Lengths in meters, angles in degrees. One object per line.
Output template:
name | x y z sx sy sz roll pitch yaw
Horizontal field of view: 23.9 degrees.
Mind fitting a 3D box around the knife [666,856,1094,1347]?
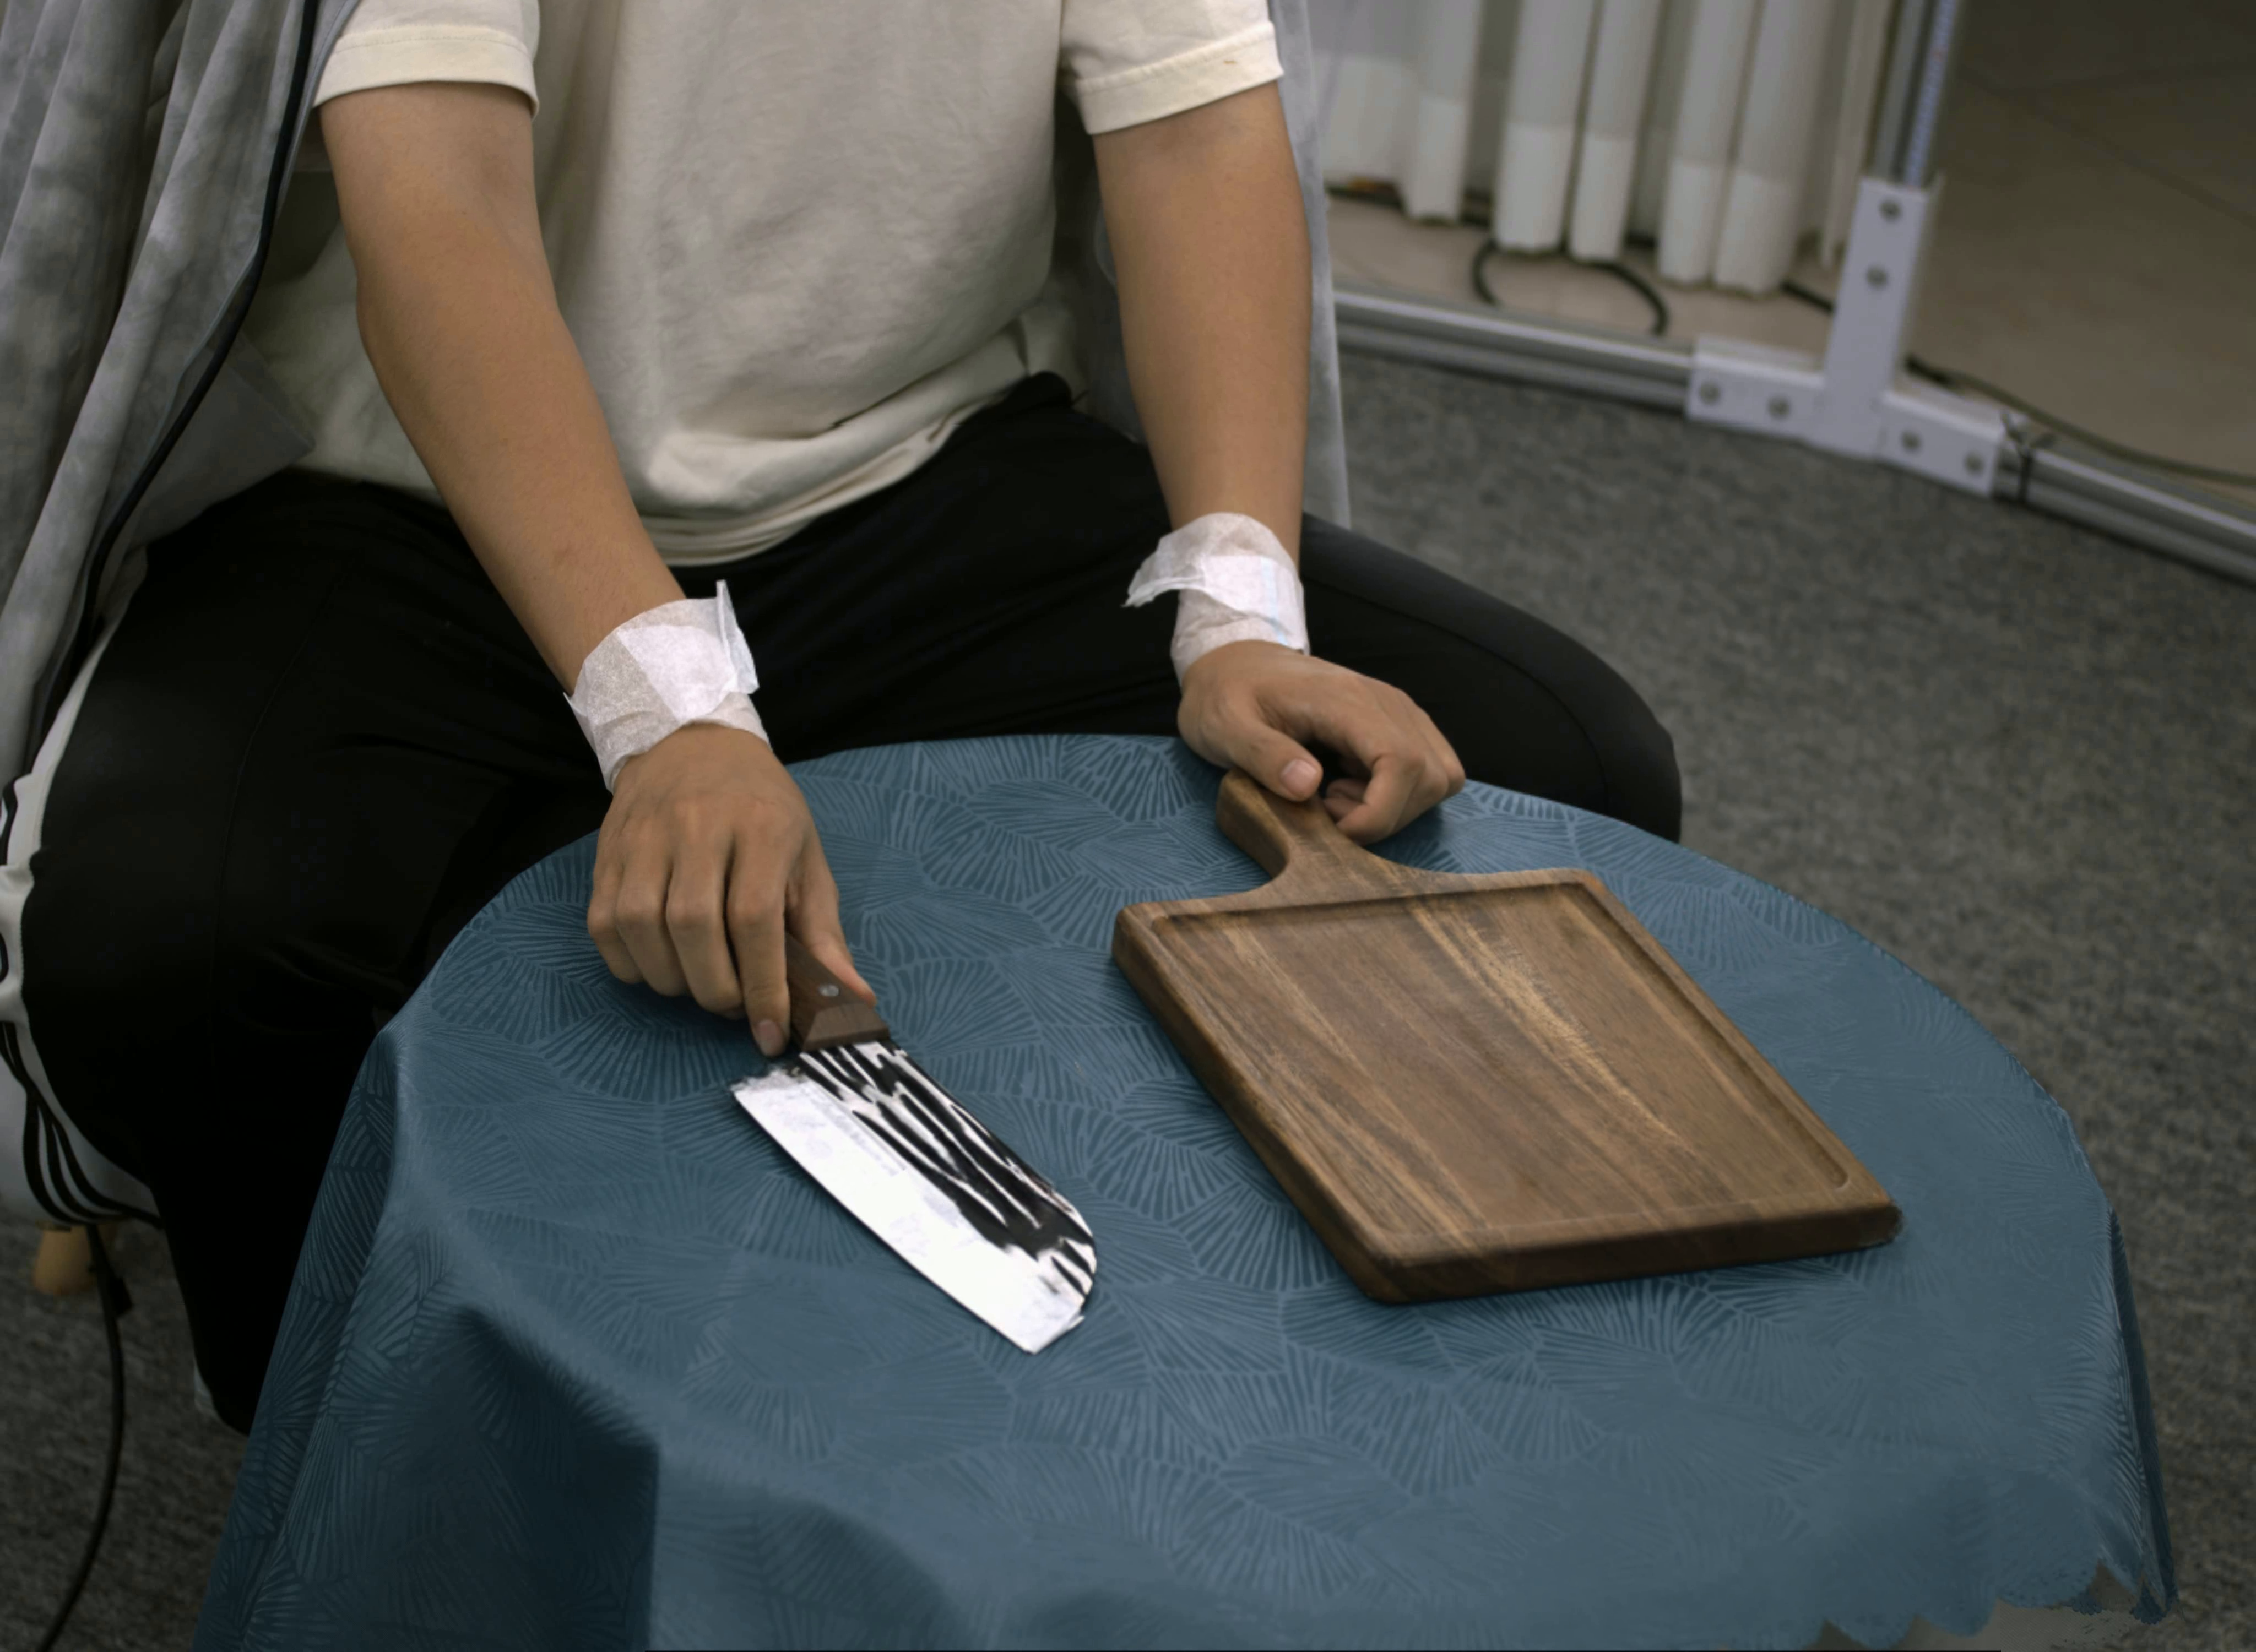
knife | -0.095 0.092 1.824 0.068 0.024 0.302 -15 36 -30

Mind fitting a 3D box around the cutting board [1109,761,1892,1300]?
cutting board | 0.110 0.063 1.926 0.200 0.023 0.355 -5 28 -21
